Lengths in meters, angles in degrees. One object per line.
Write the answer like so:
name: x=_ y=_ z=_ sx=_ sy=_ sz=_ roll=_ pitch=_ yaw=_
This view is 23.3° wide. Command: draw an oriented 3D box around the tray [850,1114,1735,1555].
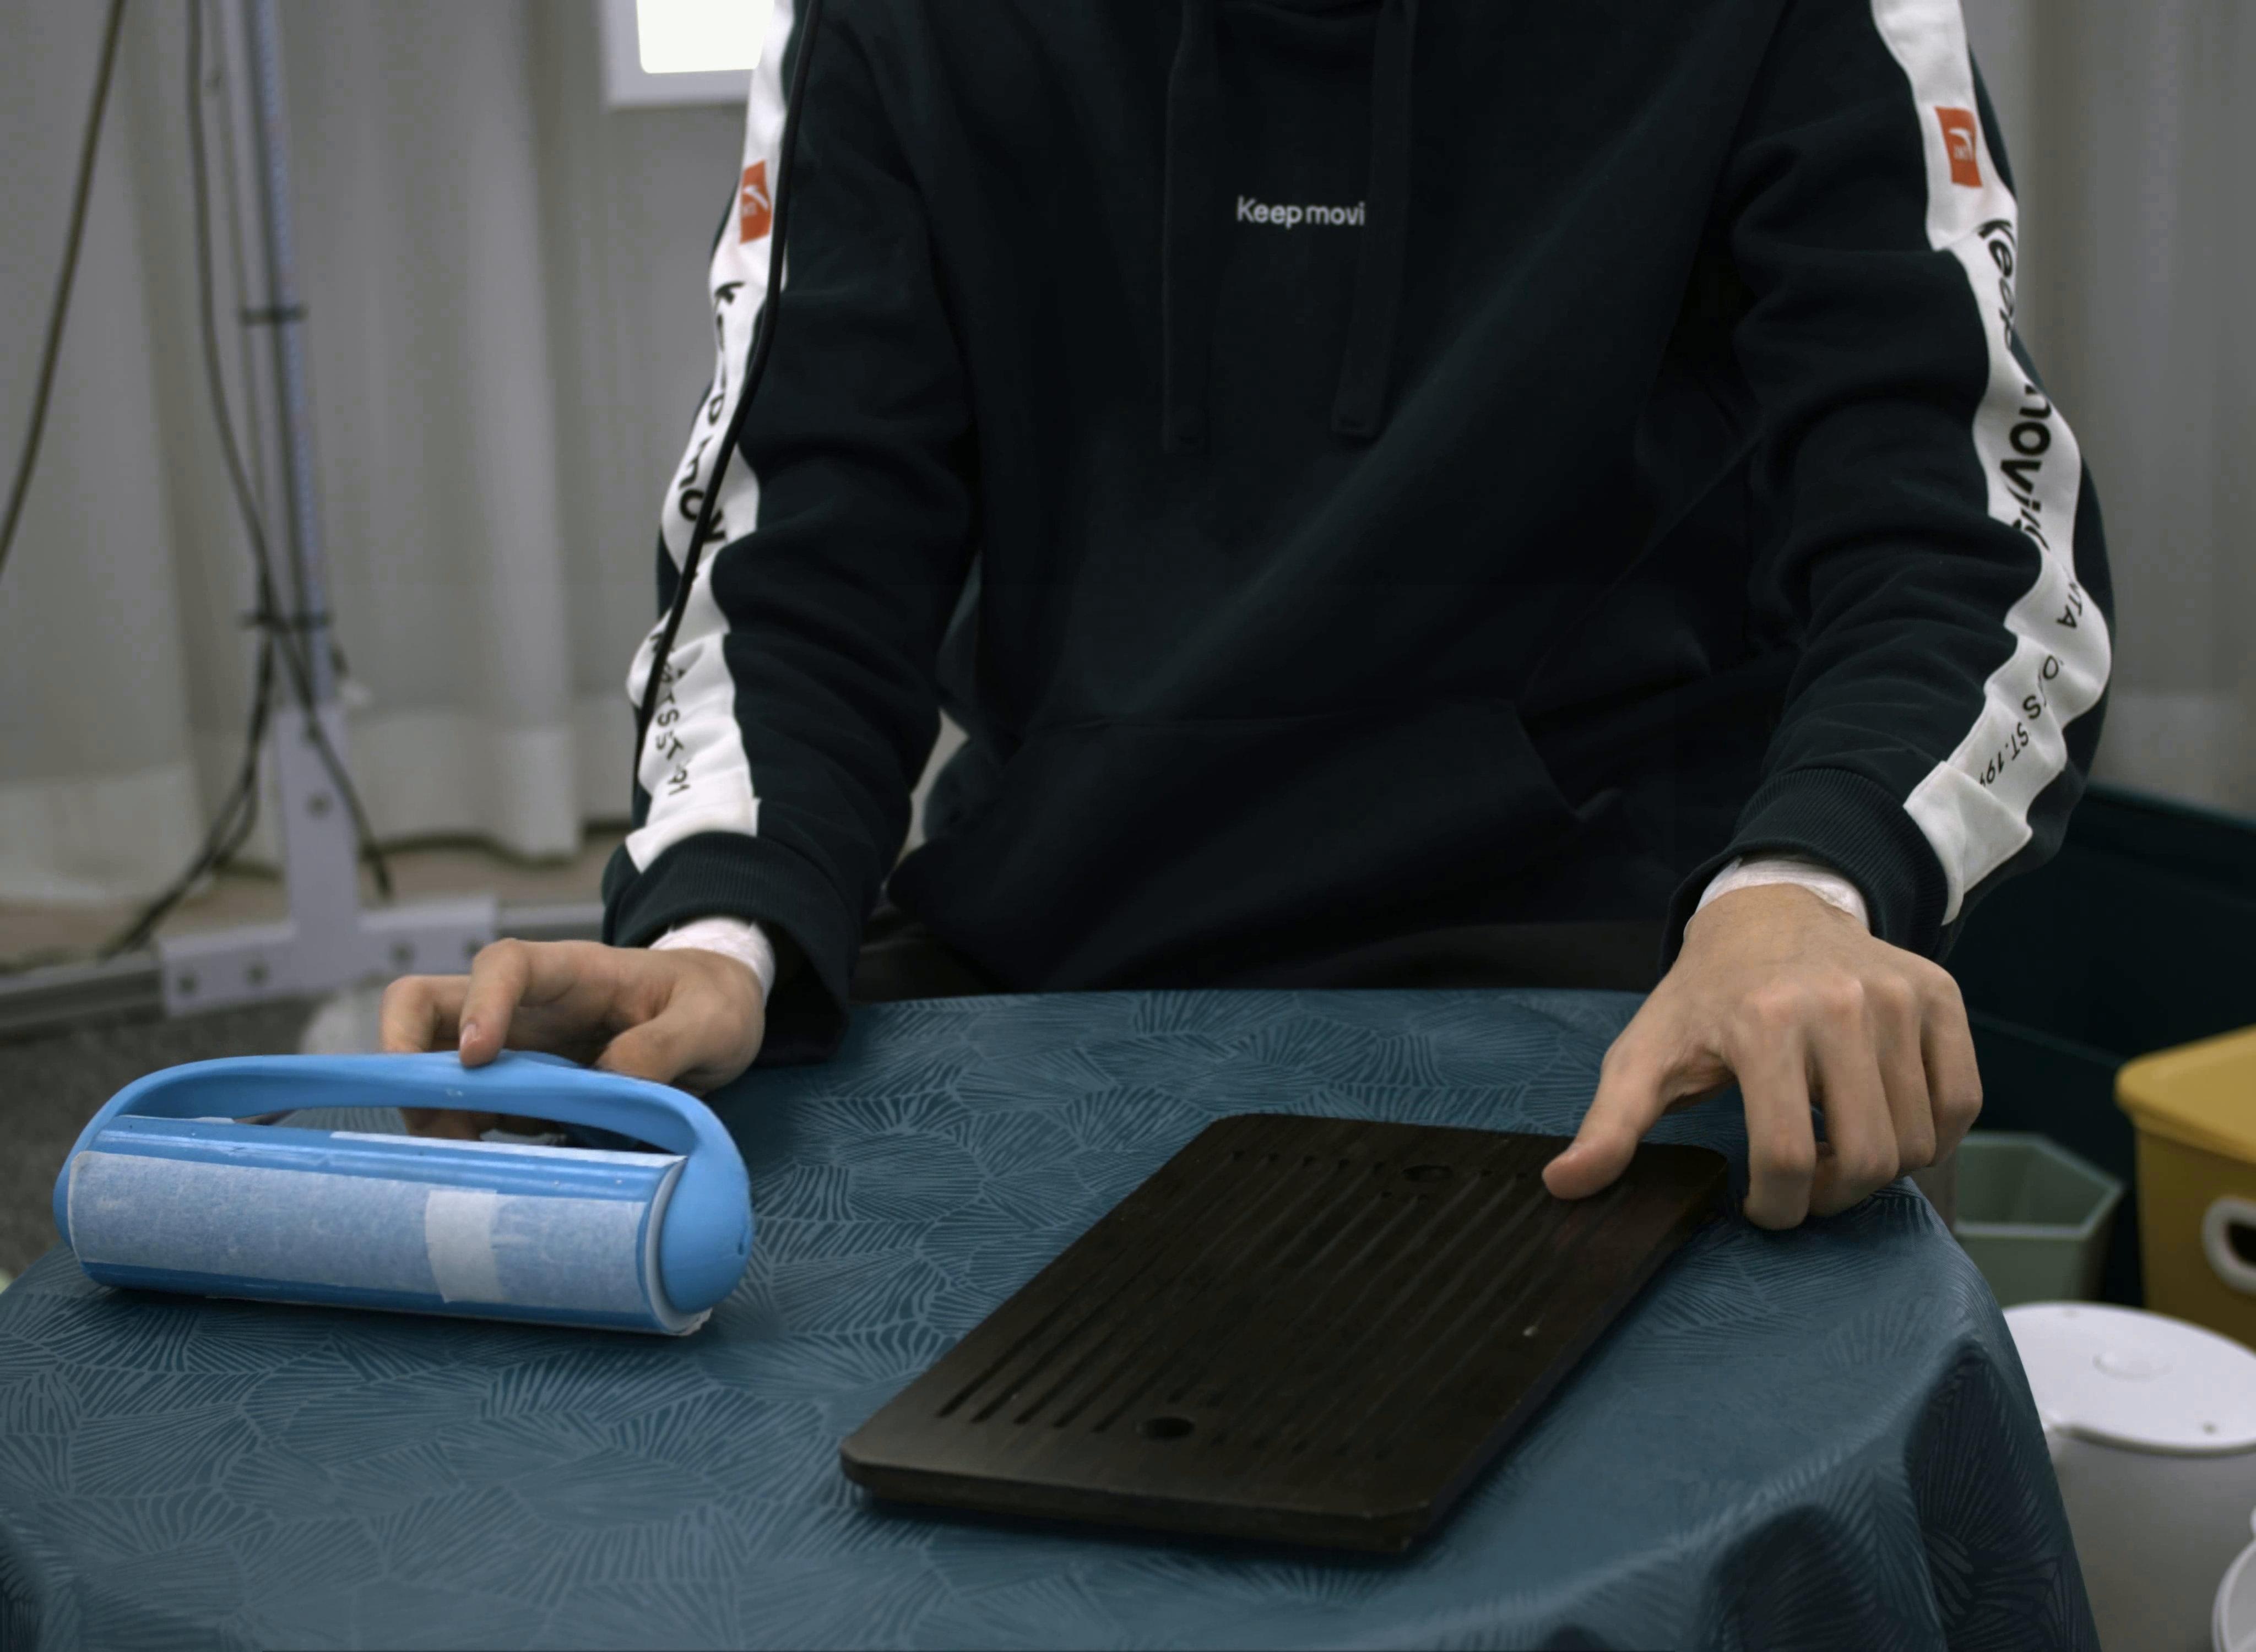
tray: x=0.055 y=0.142 z=1.566 sx=0.170 sy=0.018 sz=0.307 roll=3 pitch=16 yaw=22

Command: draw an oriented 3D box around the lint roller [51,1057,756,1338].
lint roller: x=-0.201 y=0.102 z=1.691 sx=0.229 sy=0.067 sz=0.181 roll=0 pitch=17 yaw=18
